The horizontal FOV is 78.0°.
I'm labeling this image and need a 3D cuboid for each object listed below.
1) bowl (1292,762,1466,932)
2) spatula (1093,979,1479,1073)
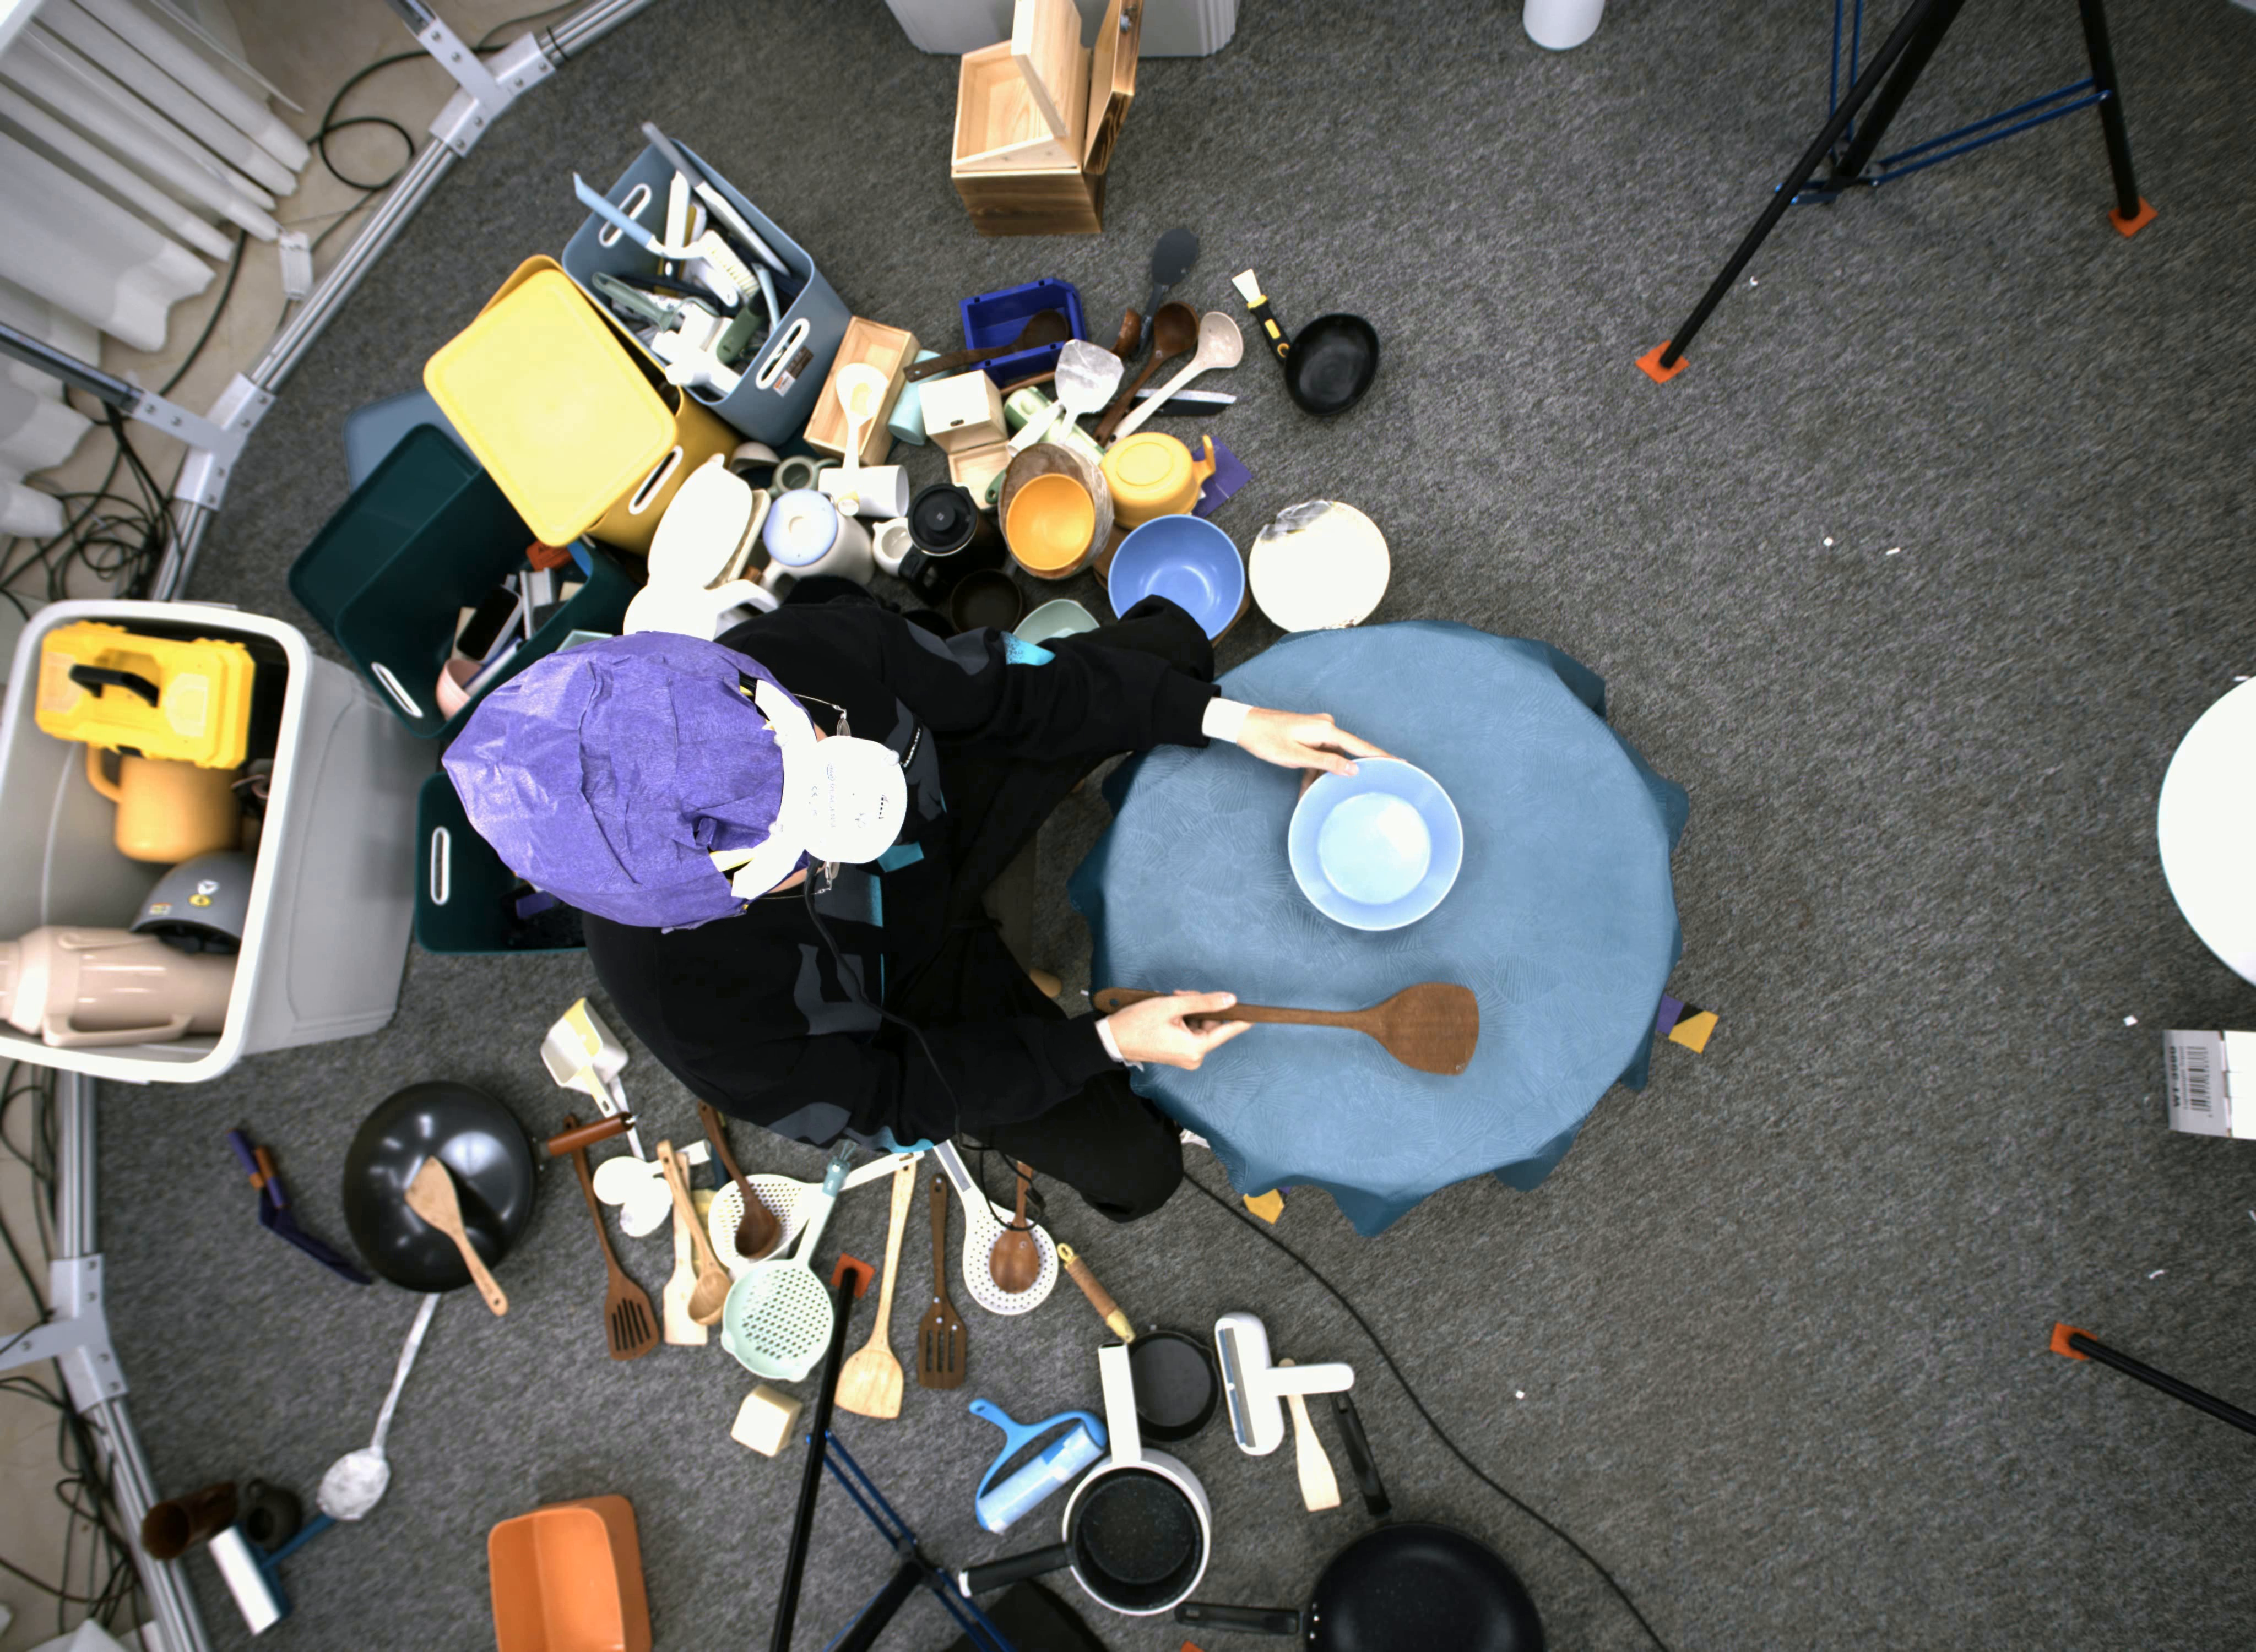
[{"bbox_3d":[0.260,0.023,1.435,0.177,0.070,0.175,-1,85,11],"label":"bowl"},{"bbox_3d":[0.157,0.188,1.388,0.387,0.015,0.097,3,103,5],"label":"spatula"}]
